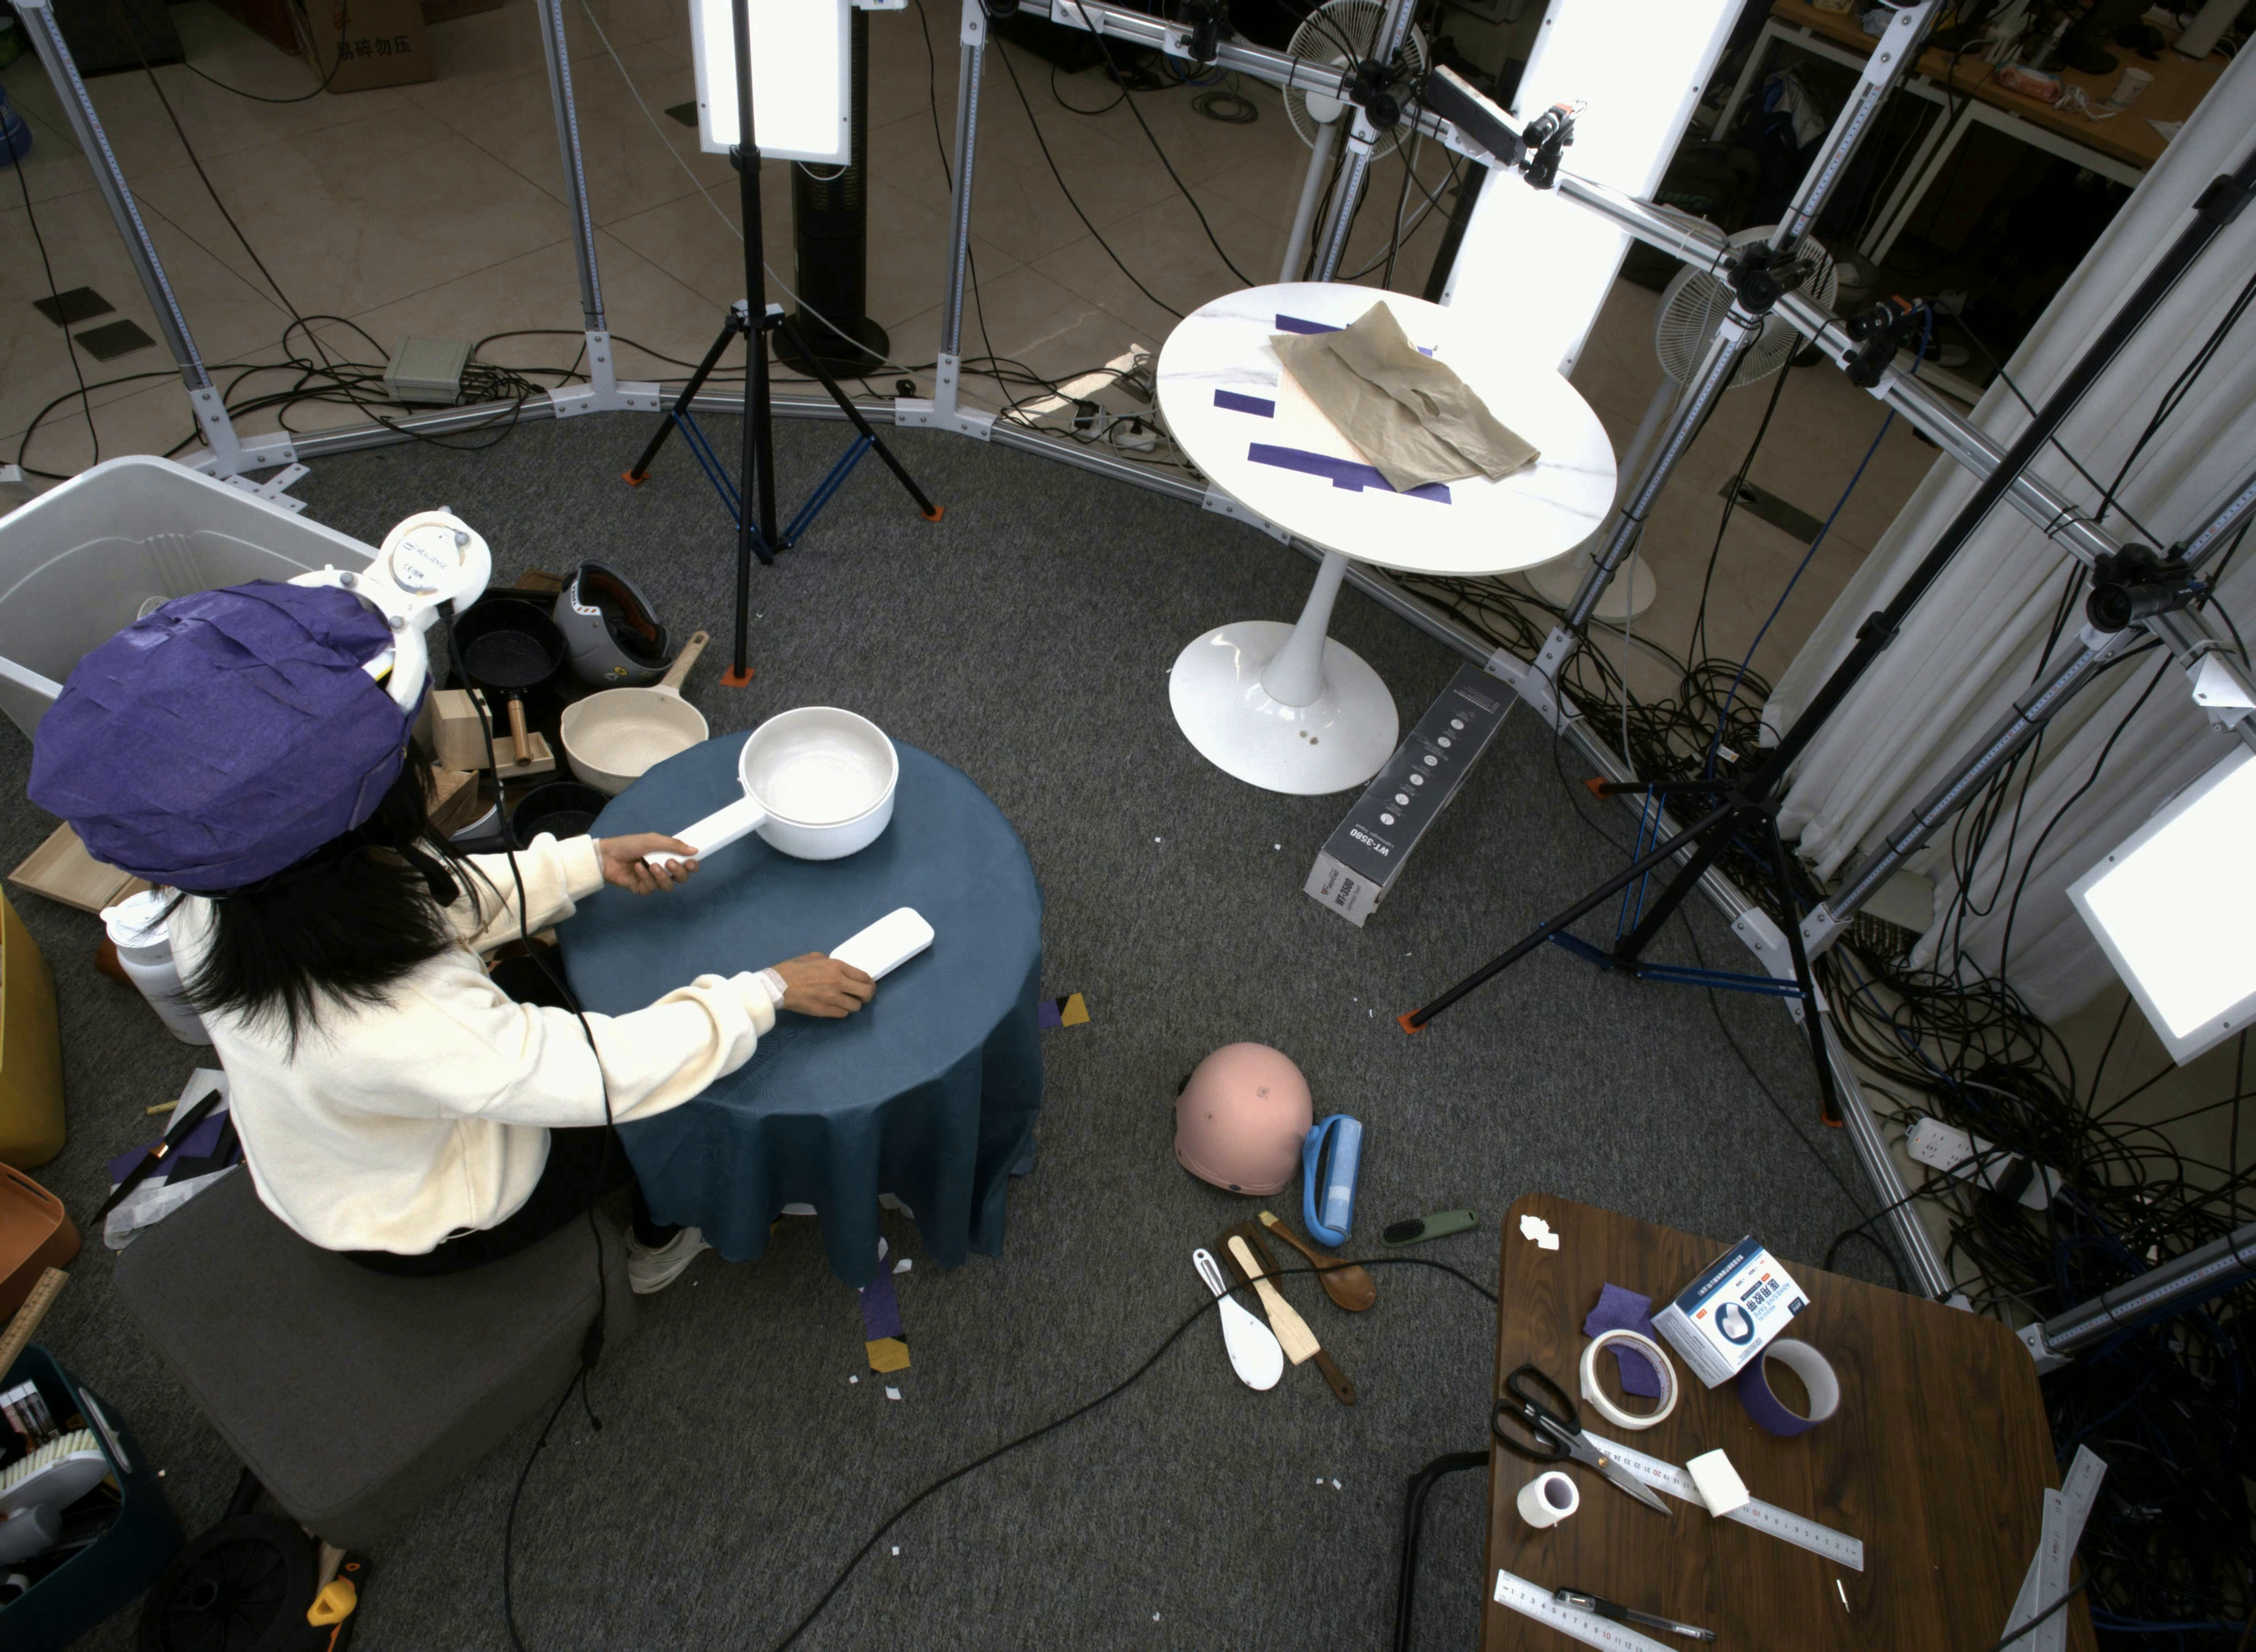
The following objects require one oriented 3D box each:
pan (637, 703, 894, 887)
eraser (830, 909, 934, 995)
[{"bbox_3d":[-0.458,-0.015,1.656,0.196,0.104,0.355,41,57,19],"label":"pan"},{"bbox_3d":[-0.306,0.152,1.617,0.062,0.035,0.131,41,54,22],"label":"eraser"}]
